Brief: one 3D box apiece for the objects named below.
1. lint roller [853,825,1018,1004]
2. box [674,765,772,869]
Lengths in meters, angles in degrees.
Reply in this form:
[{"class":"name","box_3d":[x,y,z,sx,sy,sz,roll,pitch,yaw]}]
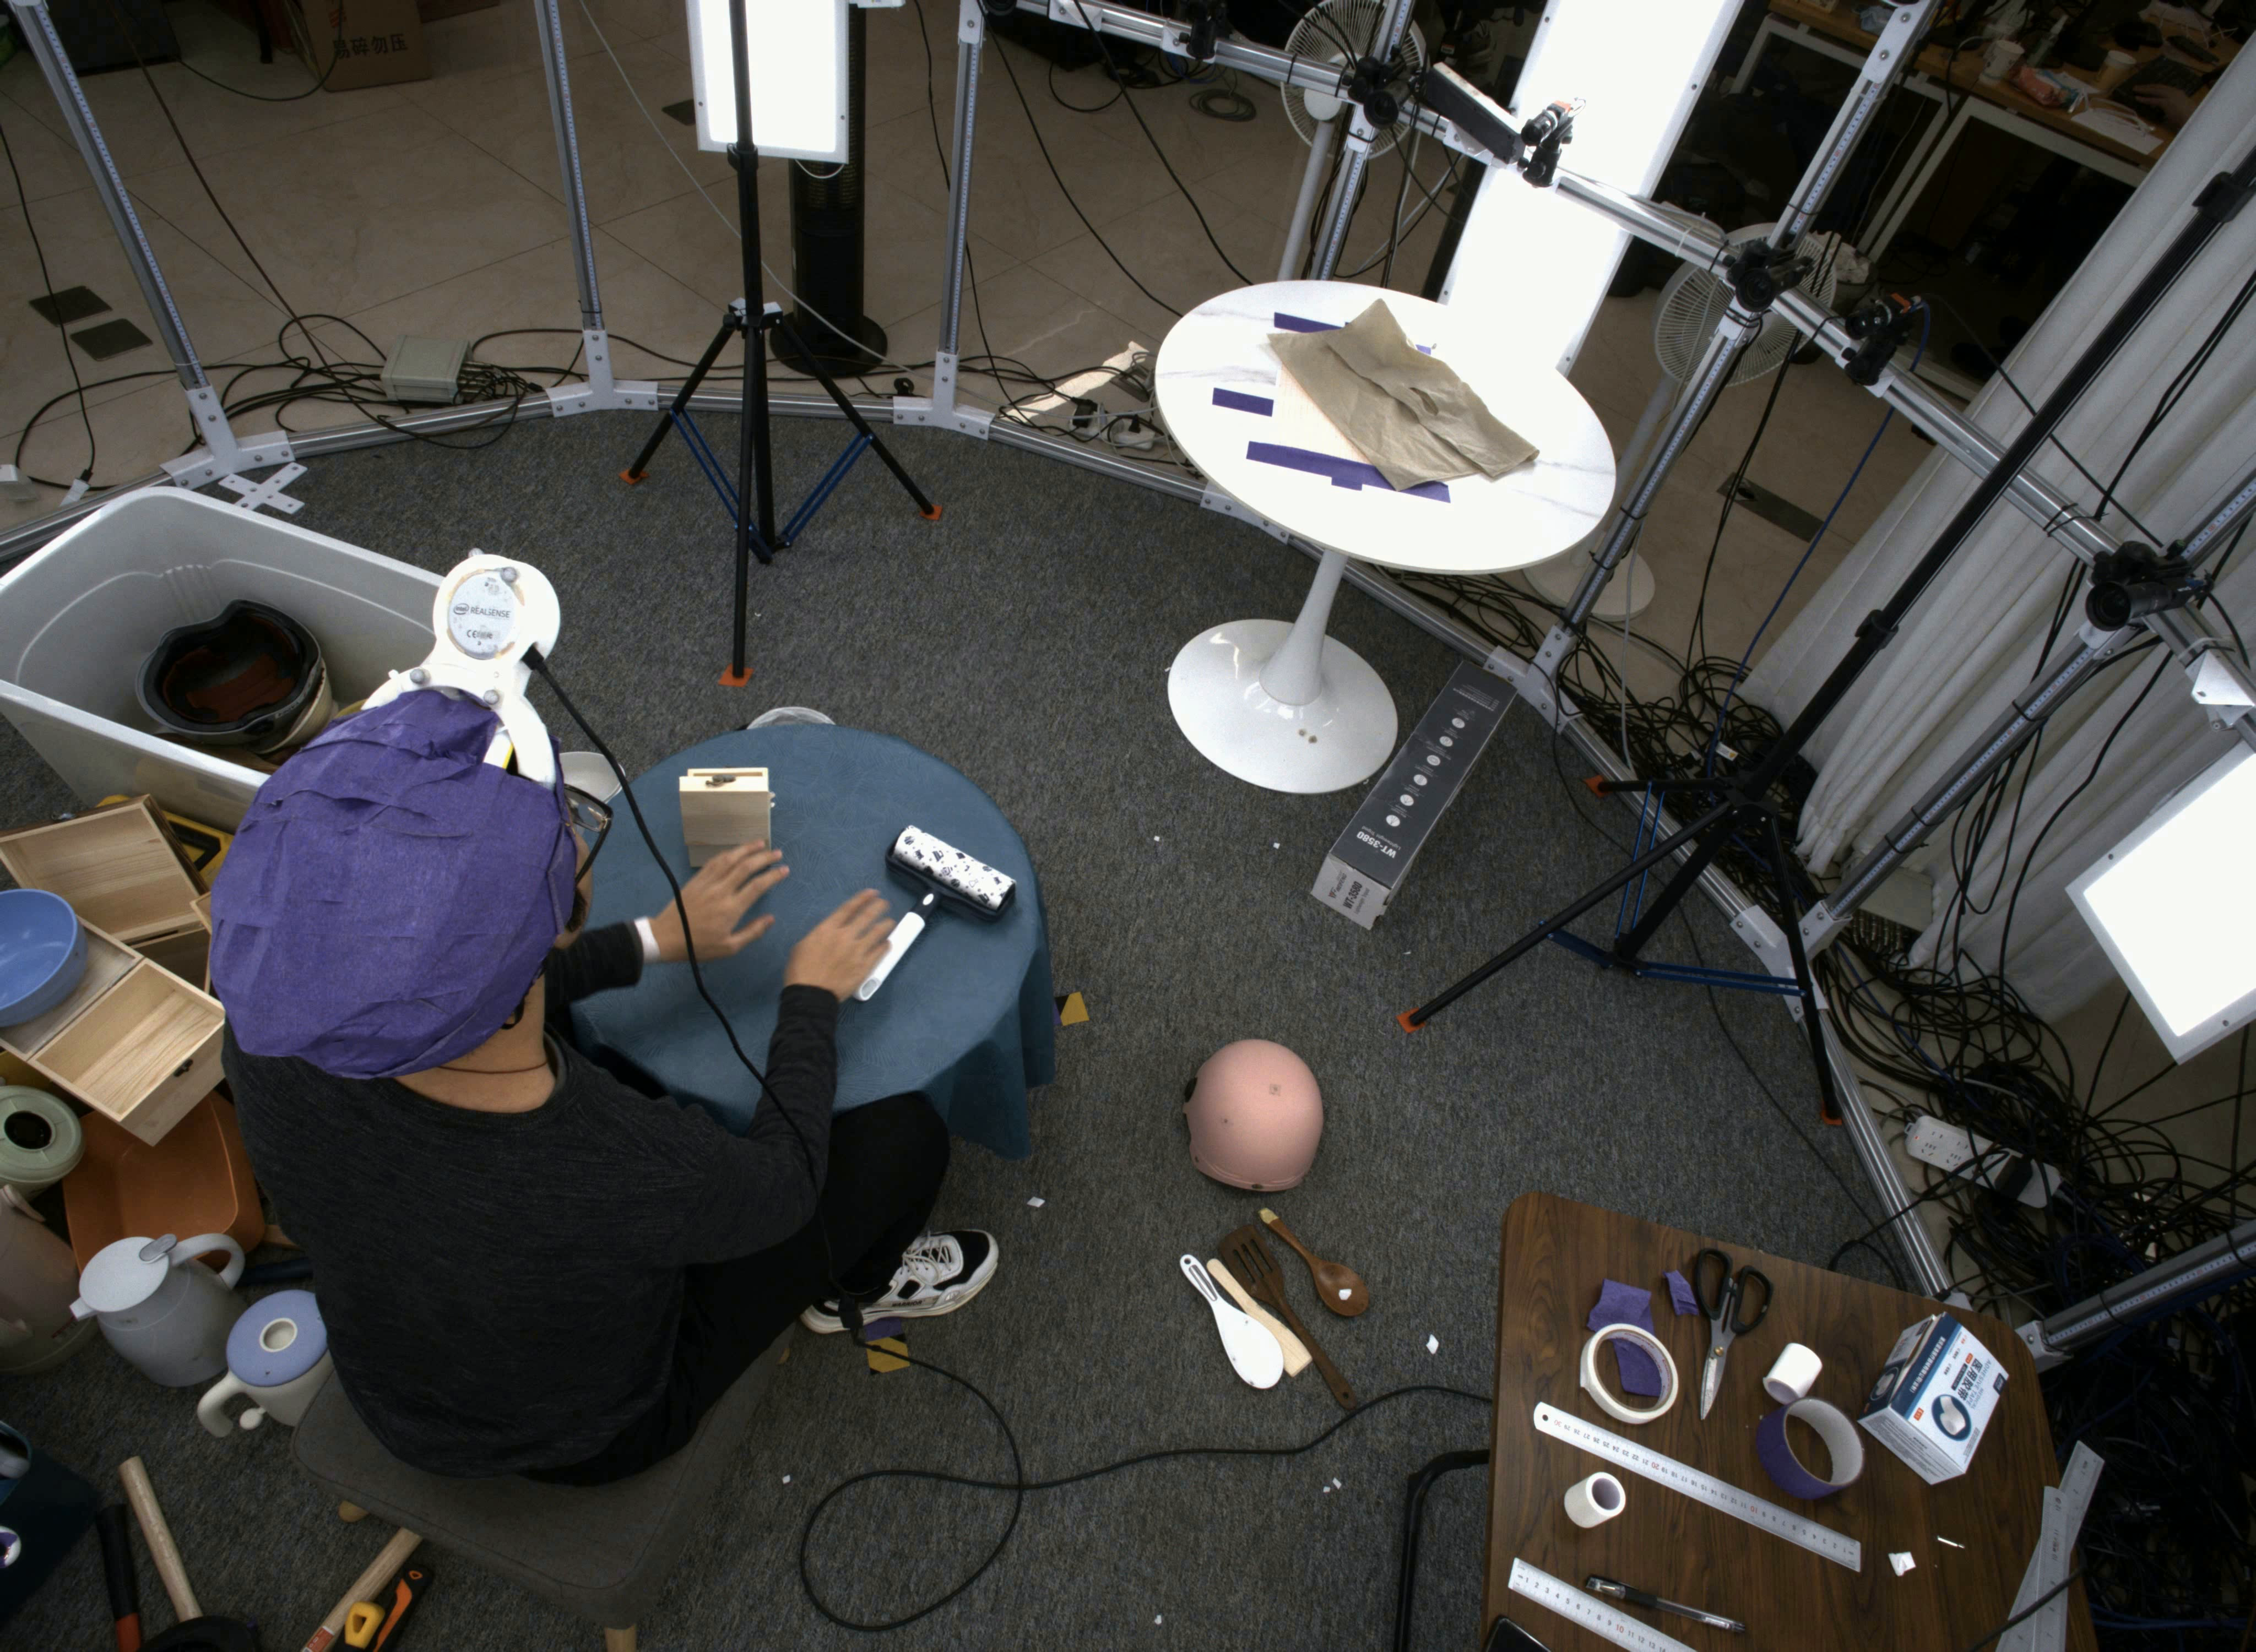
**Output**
[{"class":"lint roller","box_3d":[-0.270,0.121,1.641,0.174,0.051,0.246,28,53,6]},{"class":"box","box_3d":[-0.502,-0.038,1.609,0.103,0.188,0.131,-4,54,-14]}]
